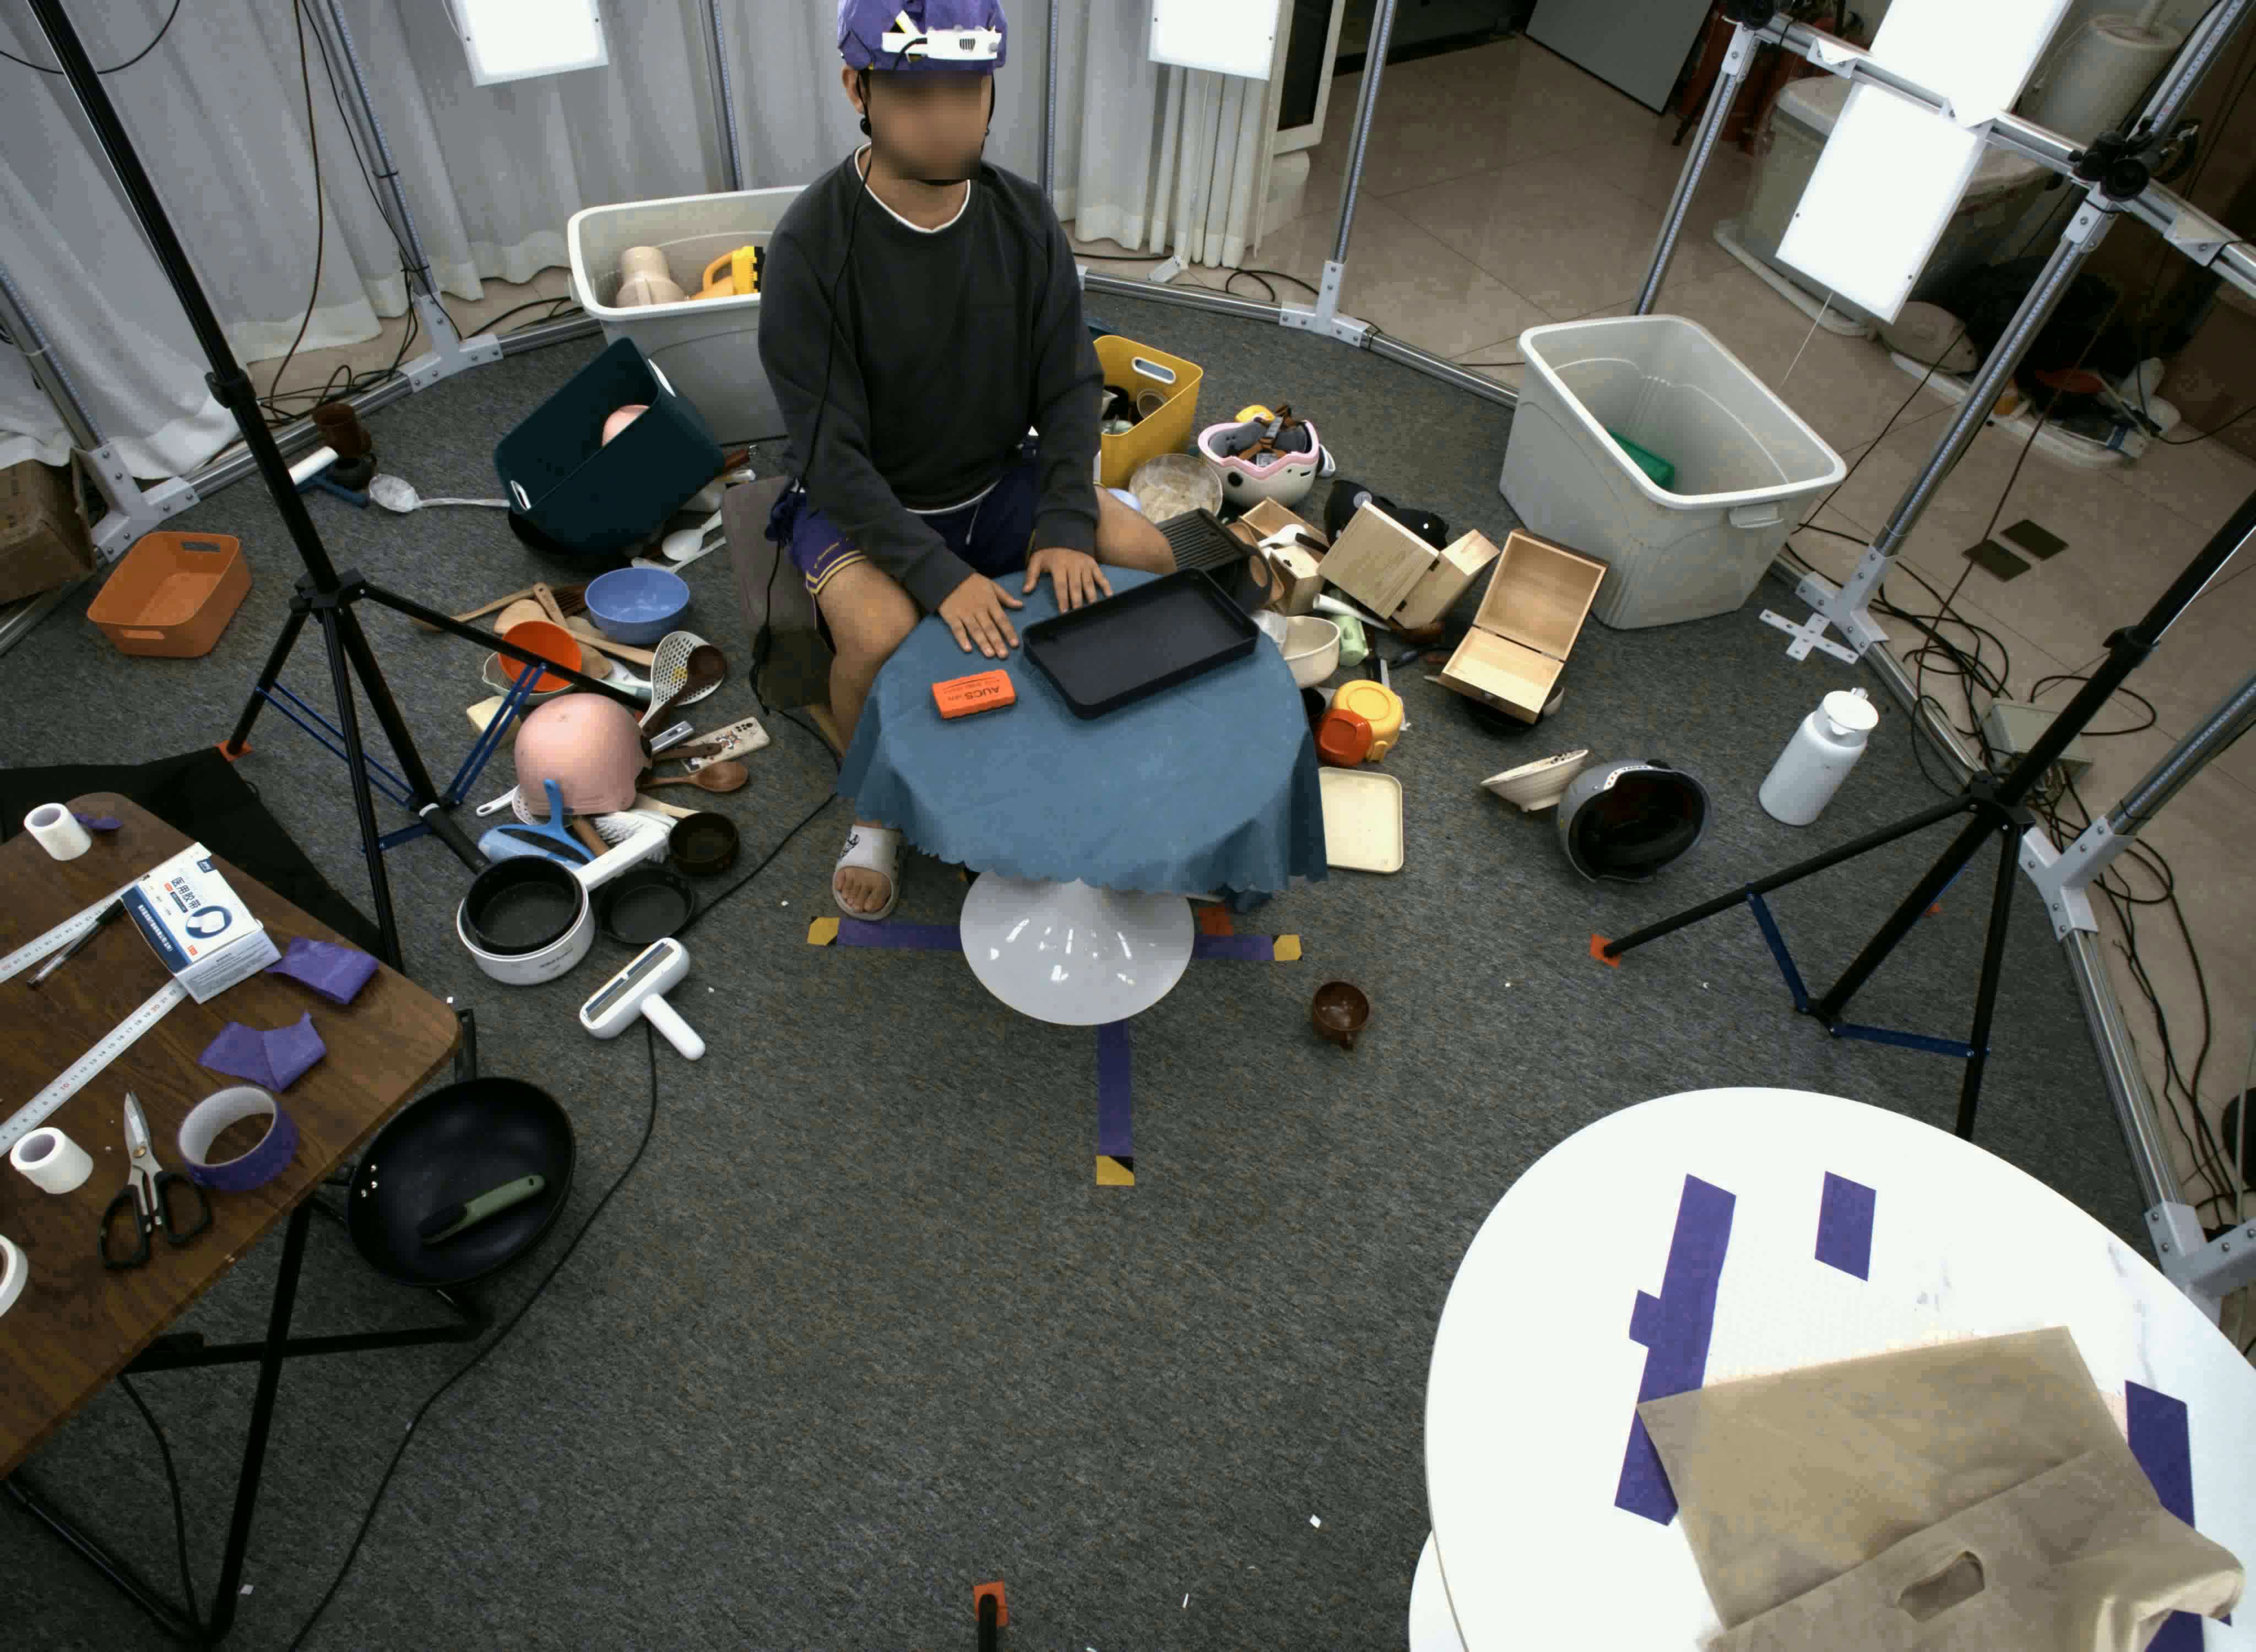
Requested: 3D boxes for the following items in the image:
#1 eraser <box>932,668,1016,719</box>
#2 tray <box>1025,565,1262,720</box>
[{"bbox_3d":[-0.214,-0.185,1.793,0.108,0.022,0.060,-16,46,-16],"label":"eraser"},{"bbox_3d":[0.024,-0.274,1.884,0.319,0.036,0.188,-26,55,-23],"label":"tray"}]
